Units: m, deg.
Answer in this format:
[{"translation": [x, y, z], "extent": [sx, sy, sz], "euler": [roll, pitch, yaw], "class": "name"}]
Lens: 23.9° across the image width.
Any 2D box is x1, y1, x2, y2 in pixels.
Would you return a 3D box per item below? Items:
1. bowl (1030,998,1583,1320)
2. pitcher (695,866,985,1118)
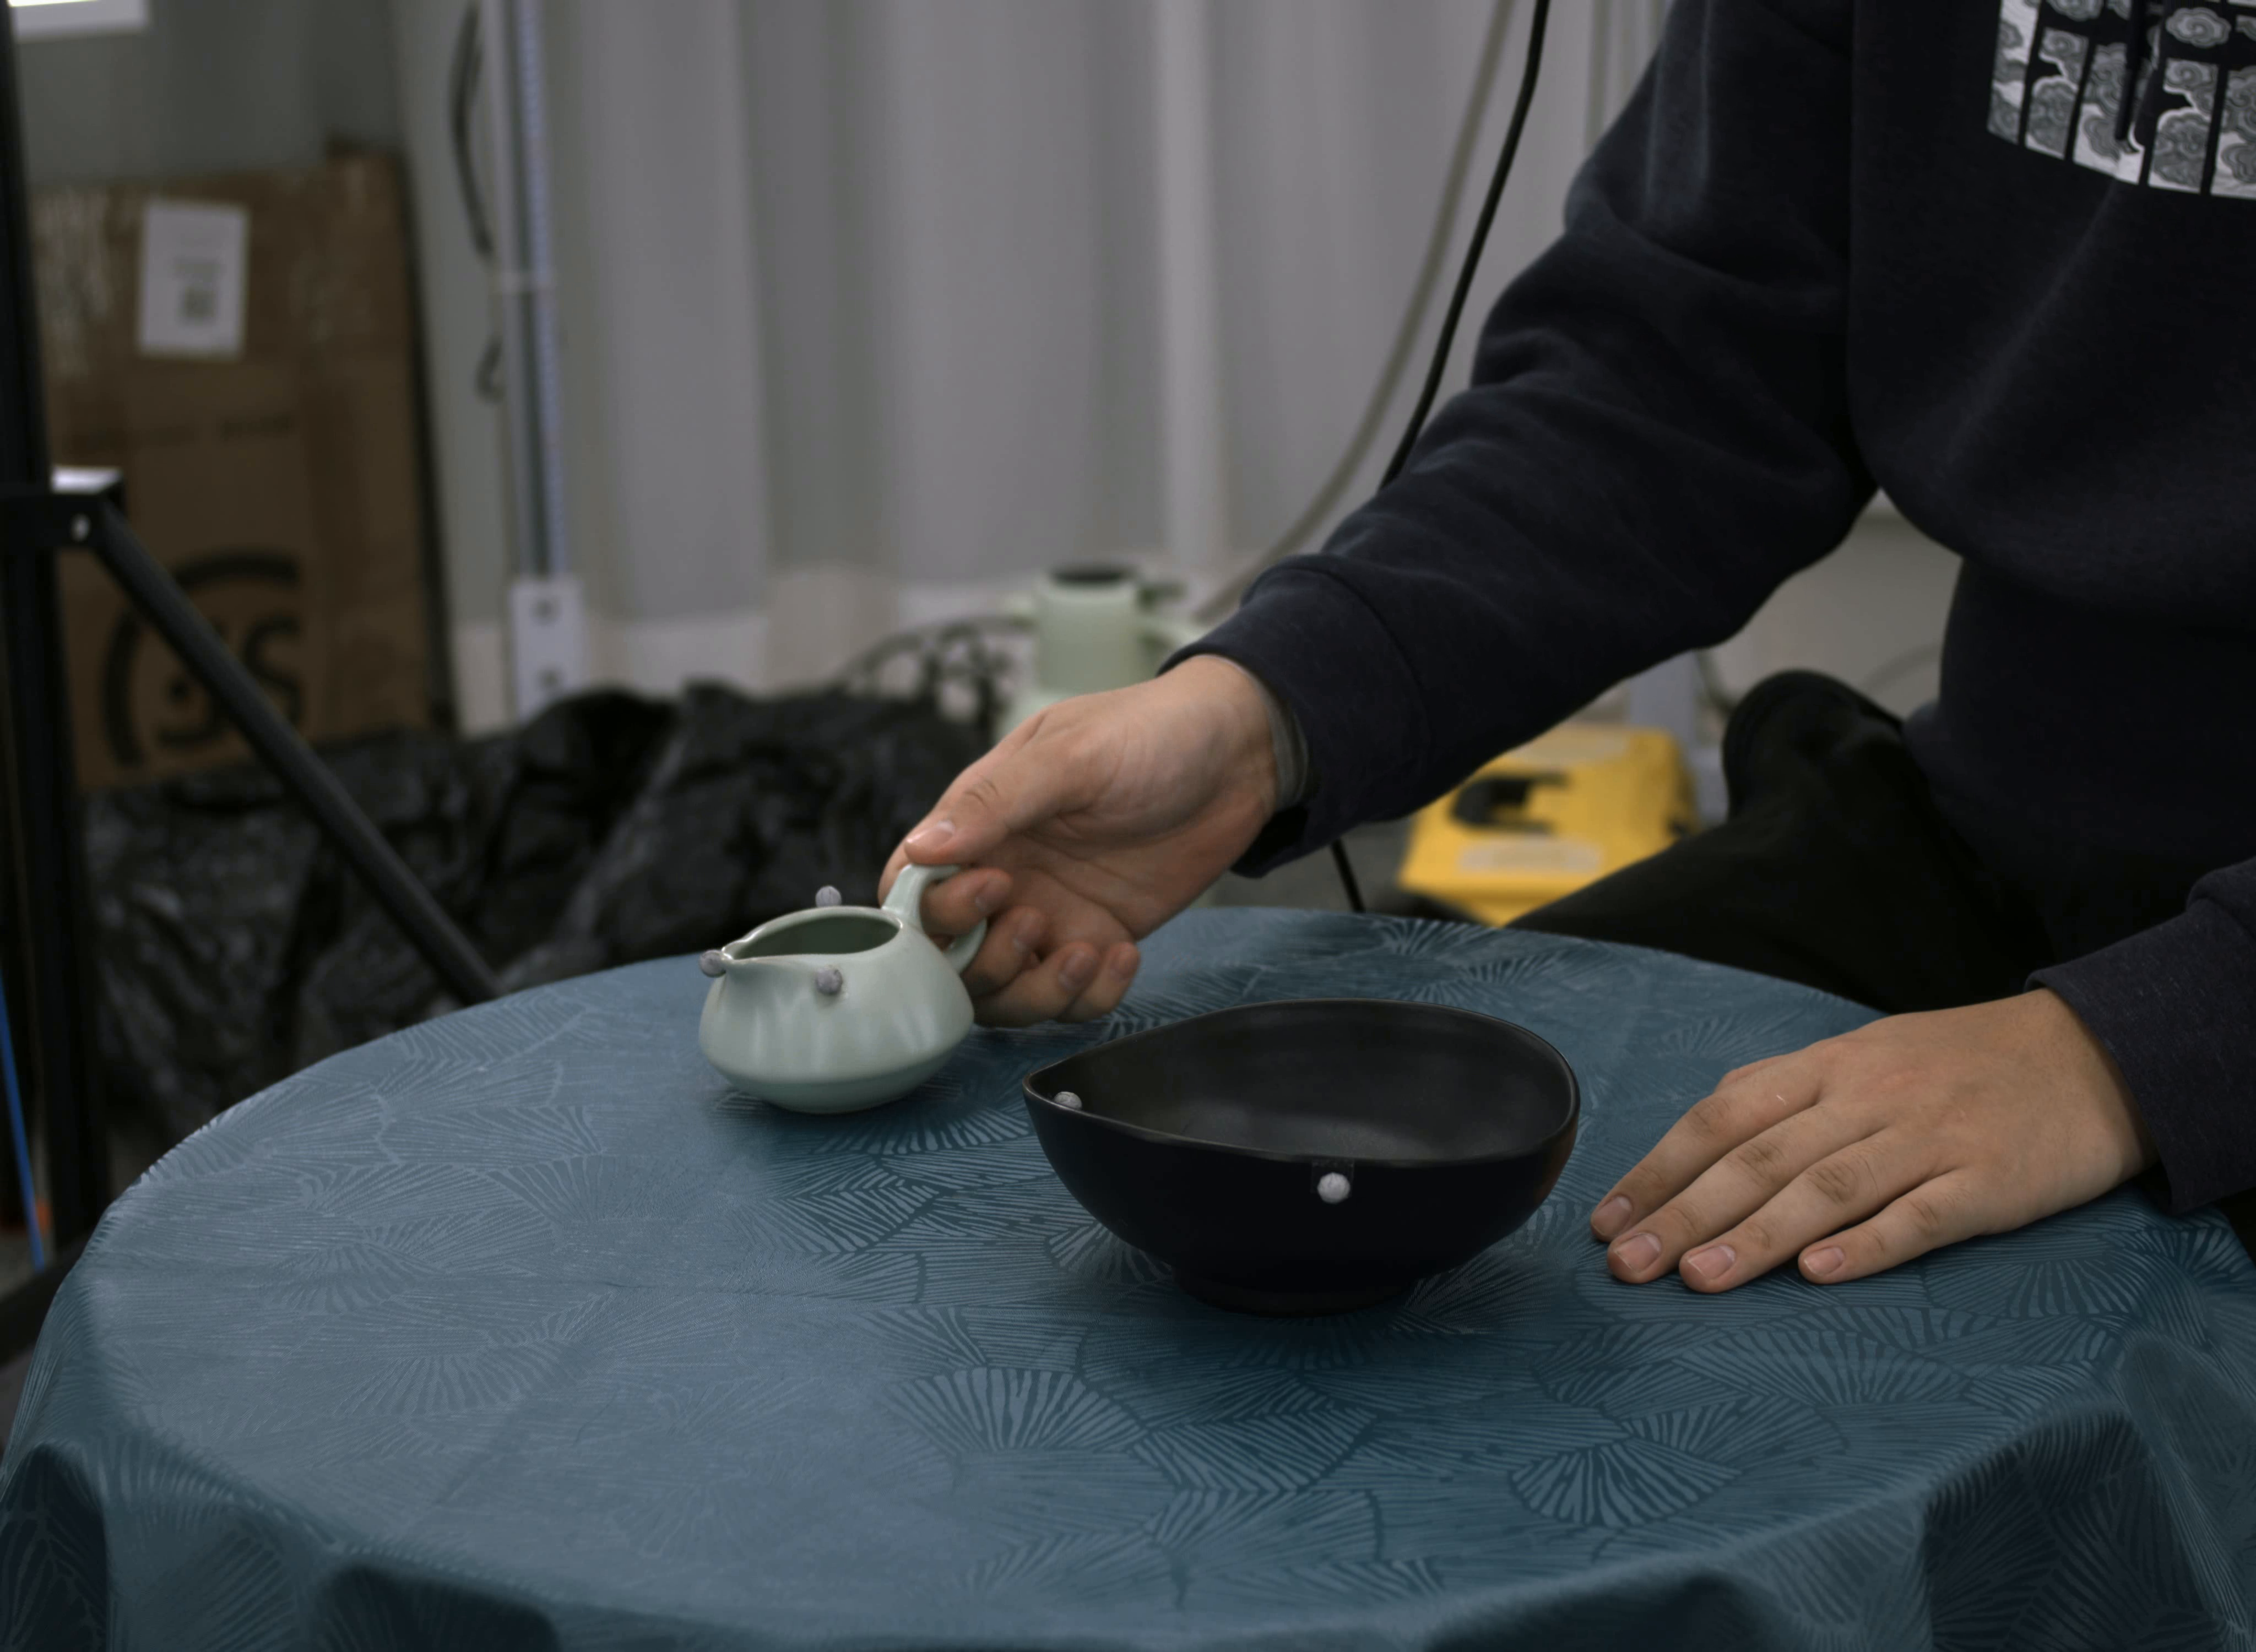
[{"translation": [0.048, 0.097, 1.475], "extent": [0.174, 0.067, 0.134], "euler": [10, 19, 41], "class": "bowl"}, {"translation": [-0.084, 0.052, 1.658], "extent": [0.088, 0.060, 0.105], "euler": [13, 24, 41], "class": "pitcher"}]
